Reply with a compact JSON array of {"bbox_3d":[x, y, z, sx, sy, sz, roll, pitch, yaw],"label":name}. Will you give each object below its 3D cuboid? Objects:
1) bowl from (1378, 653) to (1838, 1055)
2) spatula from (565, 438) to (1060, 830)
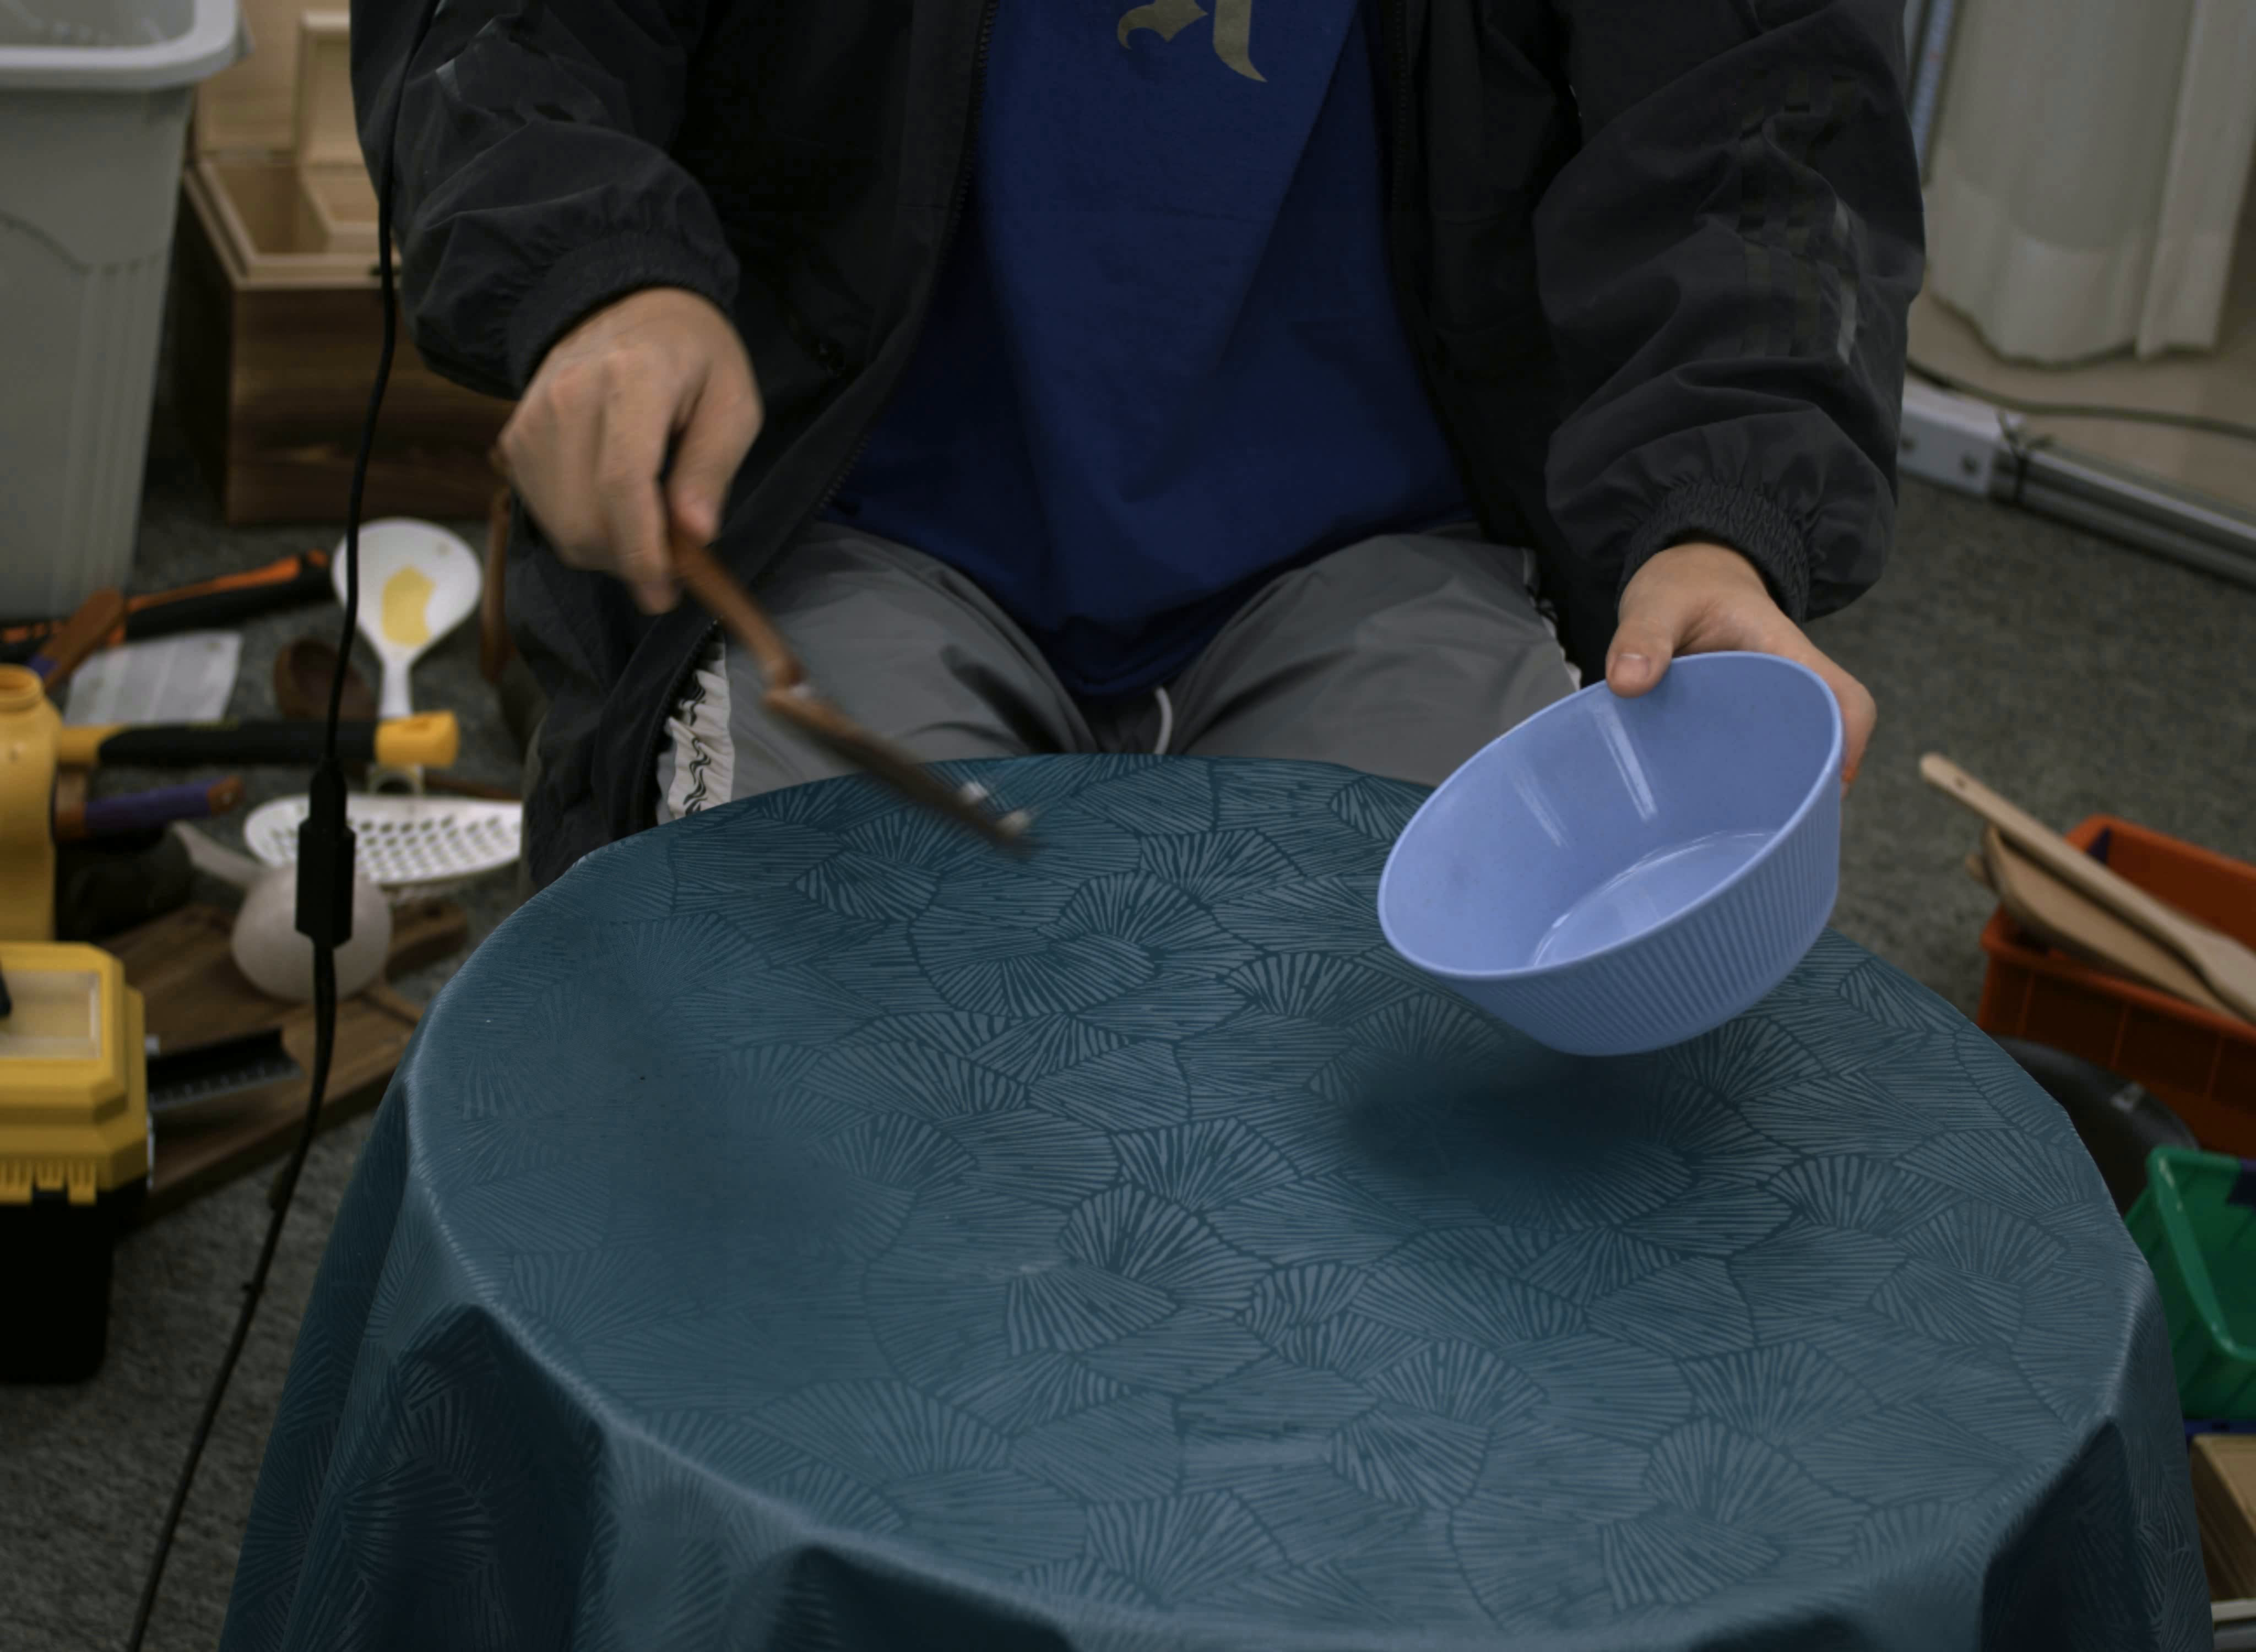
[{"bbox_3d":[0.179,0.019,1.851,0.176,0.070,0.177,-25,26,12],"label":"bowl"},{"bbox_3d":[-0.129,-0.074,1.859,0.085,0.024,0.390,32,5,-32],"label":"spatula"}]
